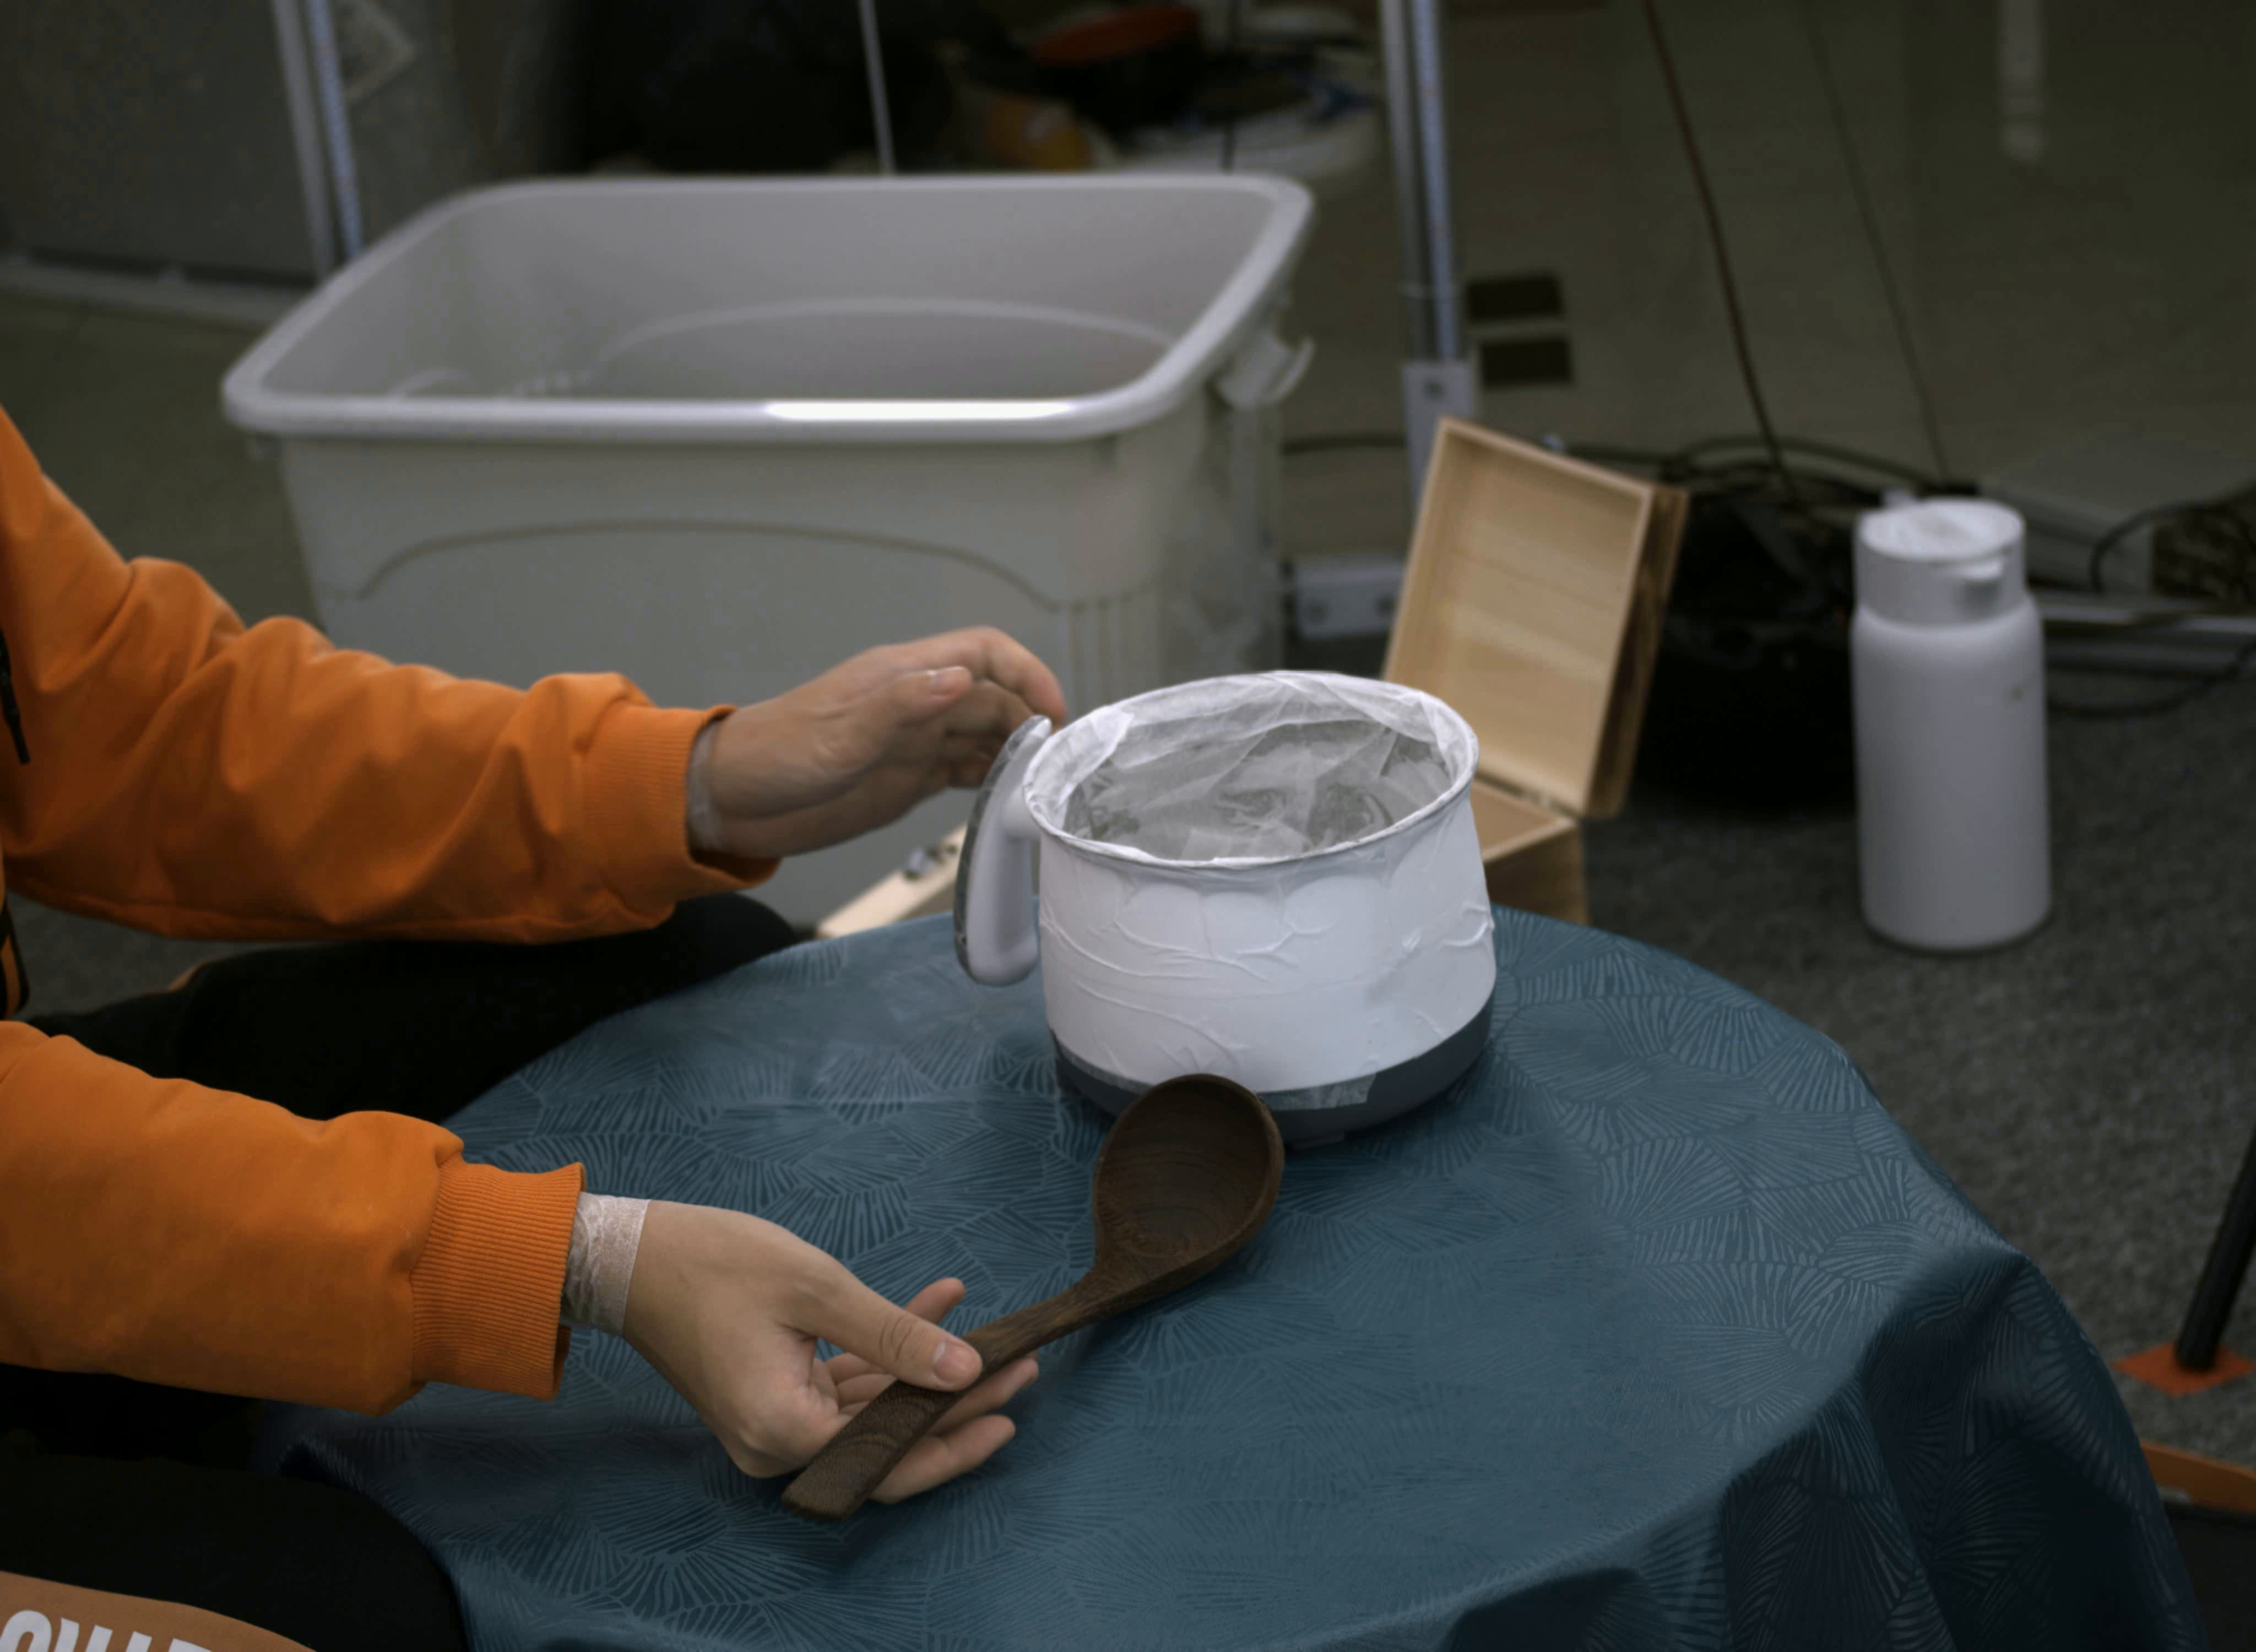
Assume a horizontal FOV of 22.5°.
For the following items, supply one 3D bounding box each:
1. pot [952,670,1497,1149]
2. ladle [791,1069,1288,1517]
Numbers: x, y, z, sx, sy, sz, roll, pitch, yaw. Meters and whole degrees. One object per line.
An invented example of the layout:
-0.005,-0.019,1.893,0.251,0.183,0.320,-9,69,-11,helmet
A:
0.029,0.029,2.209,0.232,0.139,0.176,10,29,30,pot
-0.034,0.160,2.007,0.075,0.072,0.271,9,22,32,ladle
